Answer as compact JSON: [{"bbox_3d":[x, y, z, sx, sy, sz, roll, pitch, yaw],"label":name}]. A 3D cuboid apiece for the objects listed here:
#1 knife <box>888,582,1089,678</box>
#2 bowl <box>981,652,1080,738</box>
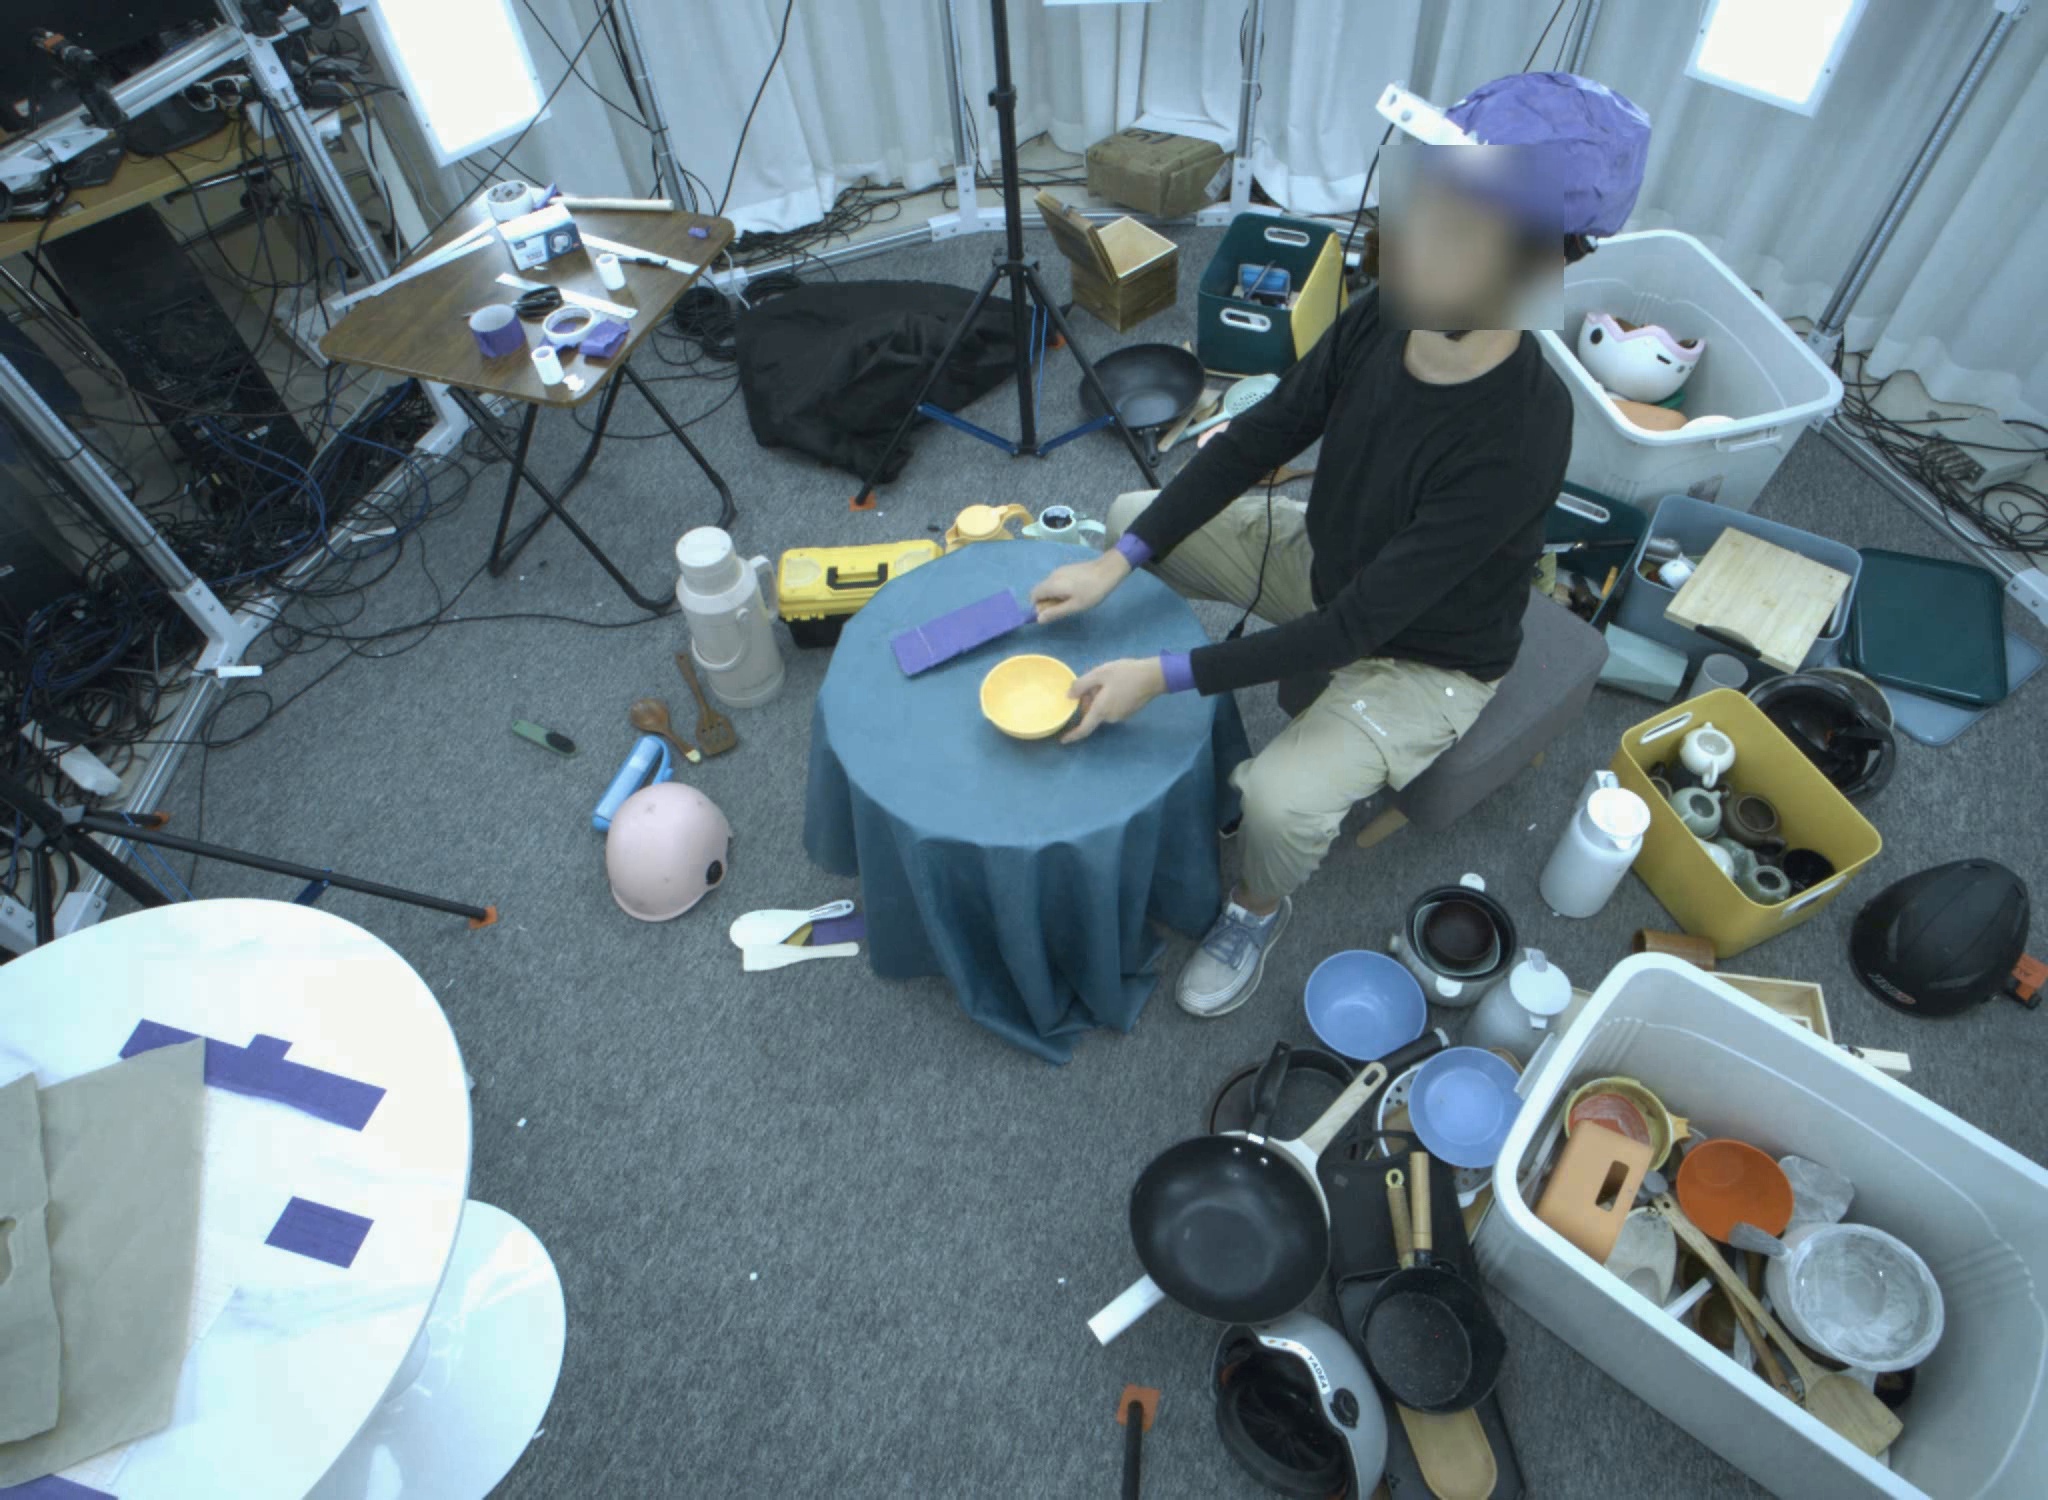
[{"bbox_3d":[-0.058,-0.206,1.898,0.317,0.032,0.102,-23,51,-9],"label":"knife"},{"bbox_3d":[0.011,-0.068,1.794,0.145,0.061,0.144,-1,56,2],"label":"bowl"}]
